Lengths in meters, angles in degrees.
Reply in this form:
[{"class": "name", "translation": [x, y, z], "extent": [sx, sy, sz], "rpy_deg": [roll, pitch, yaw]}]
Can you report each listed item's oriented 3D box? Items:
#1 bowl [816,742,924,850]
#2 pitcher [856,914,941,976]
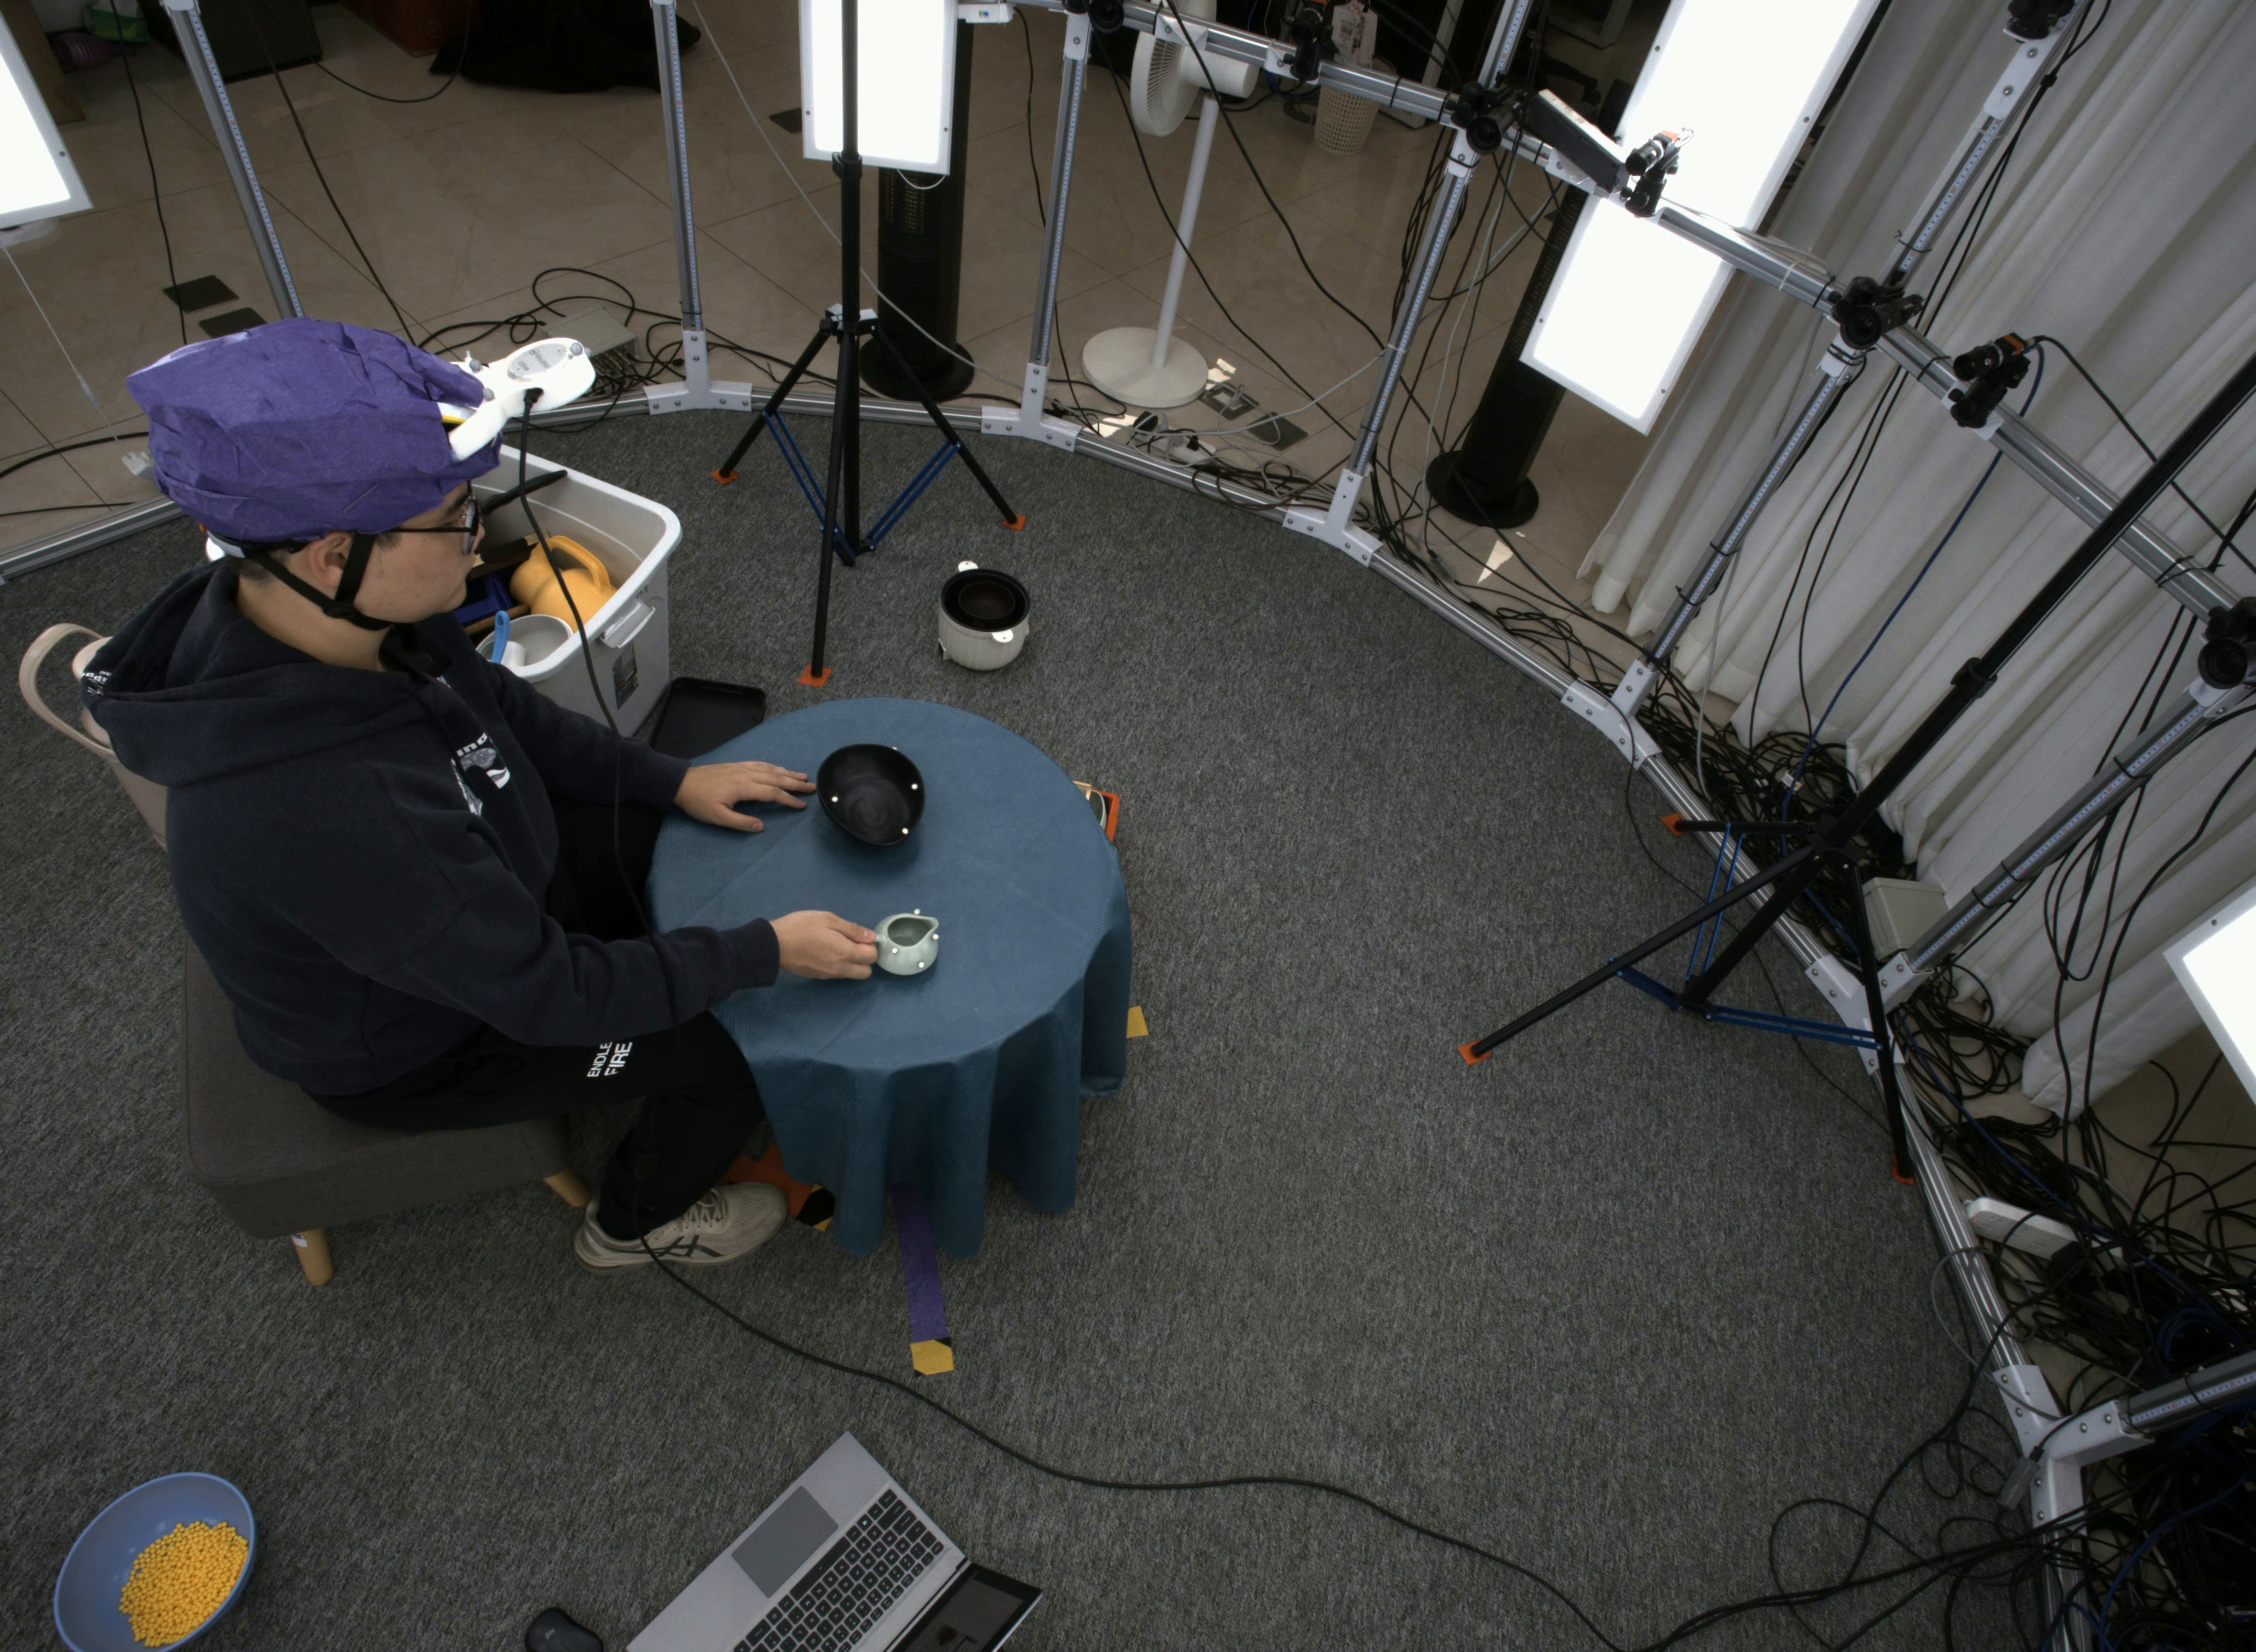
[{"class": "bowl", "translation": [-0.340, -0.032, 1.725], "extent": [0.138, 0.068, 0.166], "rpy_deg": [-19, 61, -24]}, {"class": "pitcher", "translation": [-0.284, 0.145, 1.608], "extent": [0.108, 0.061, 0.084], "rpy_deg": [-16, 57, -27]}]
